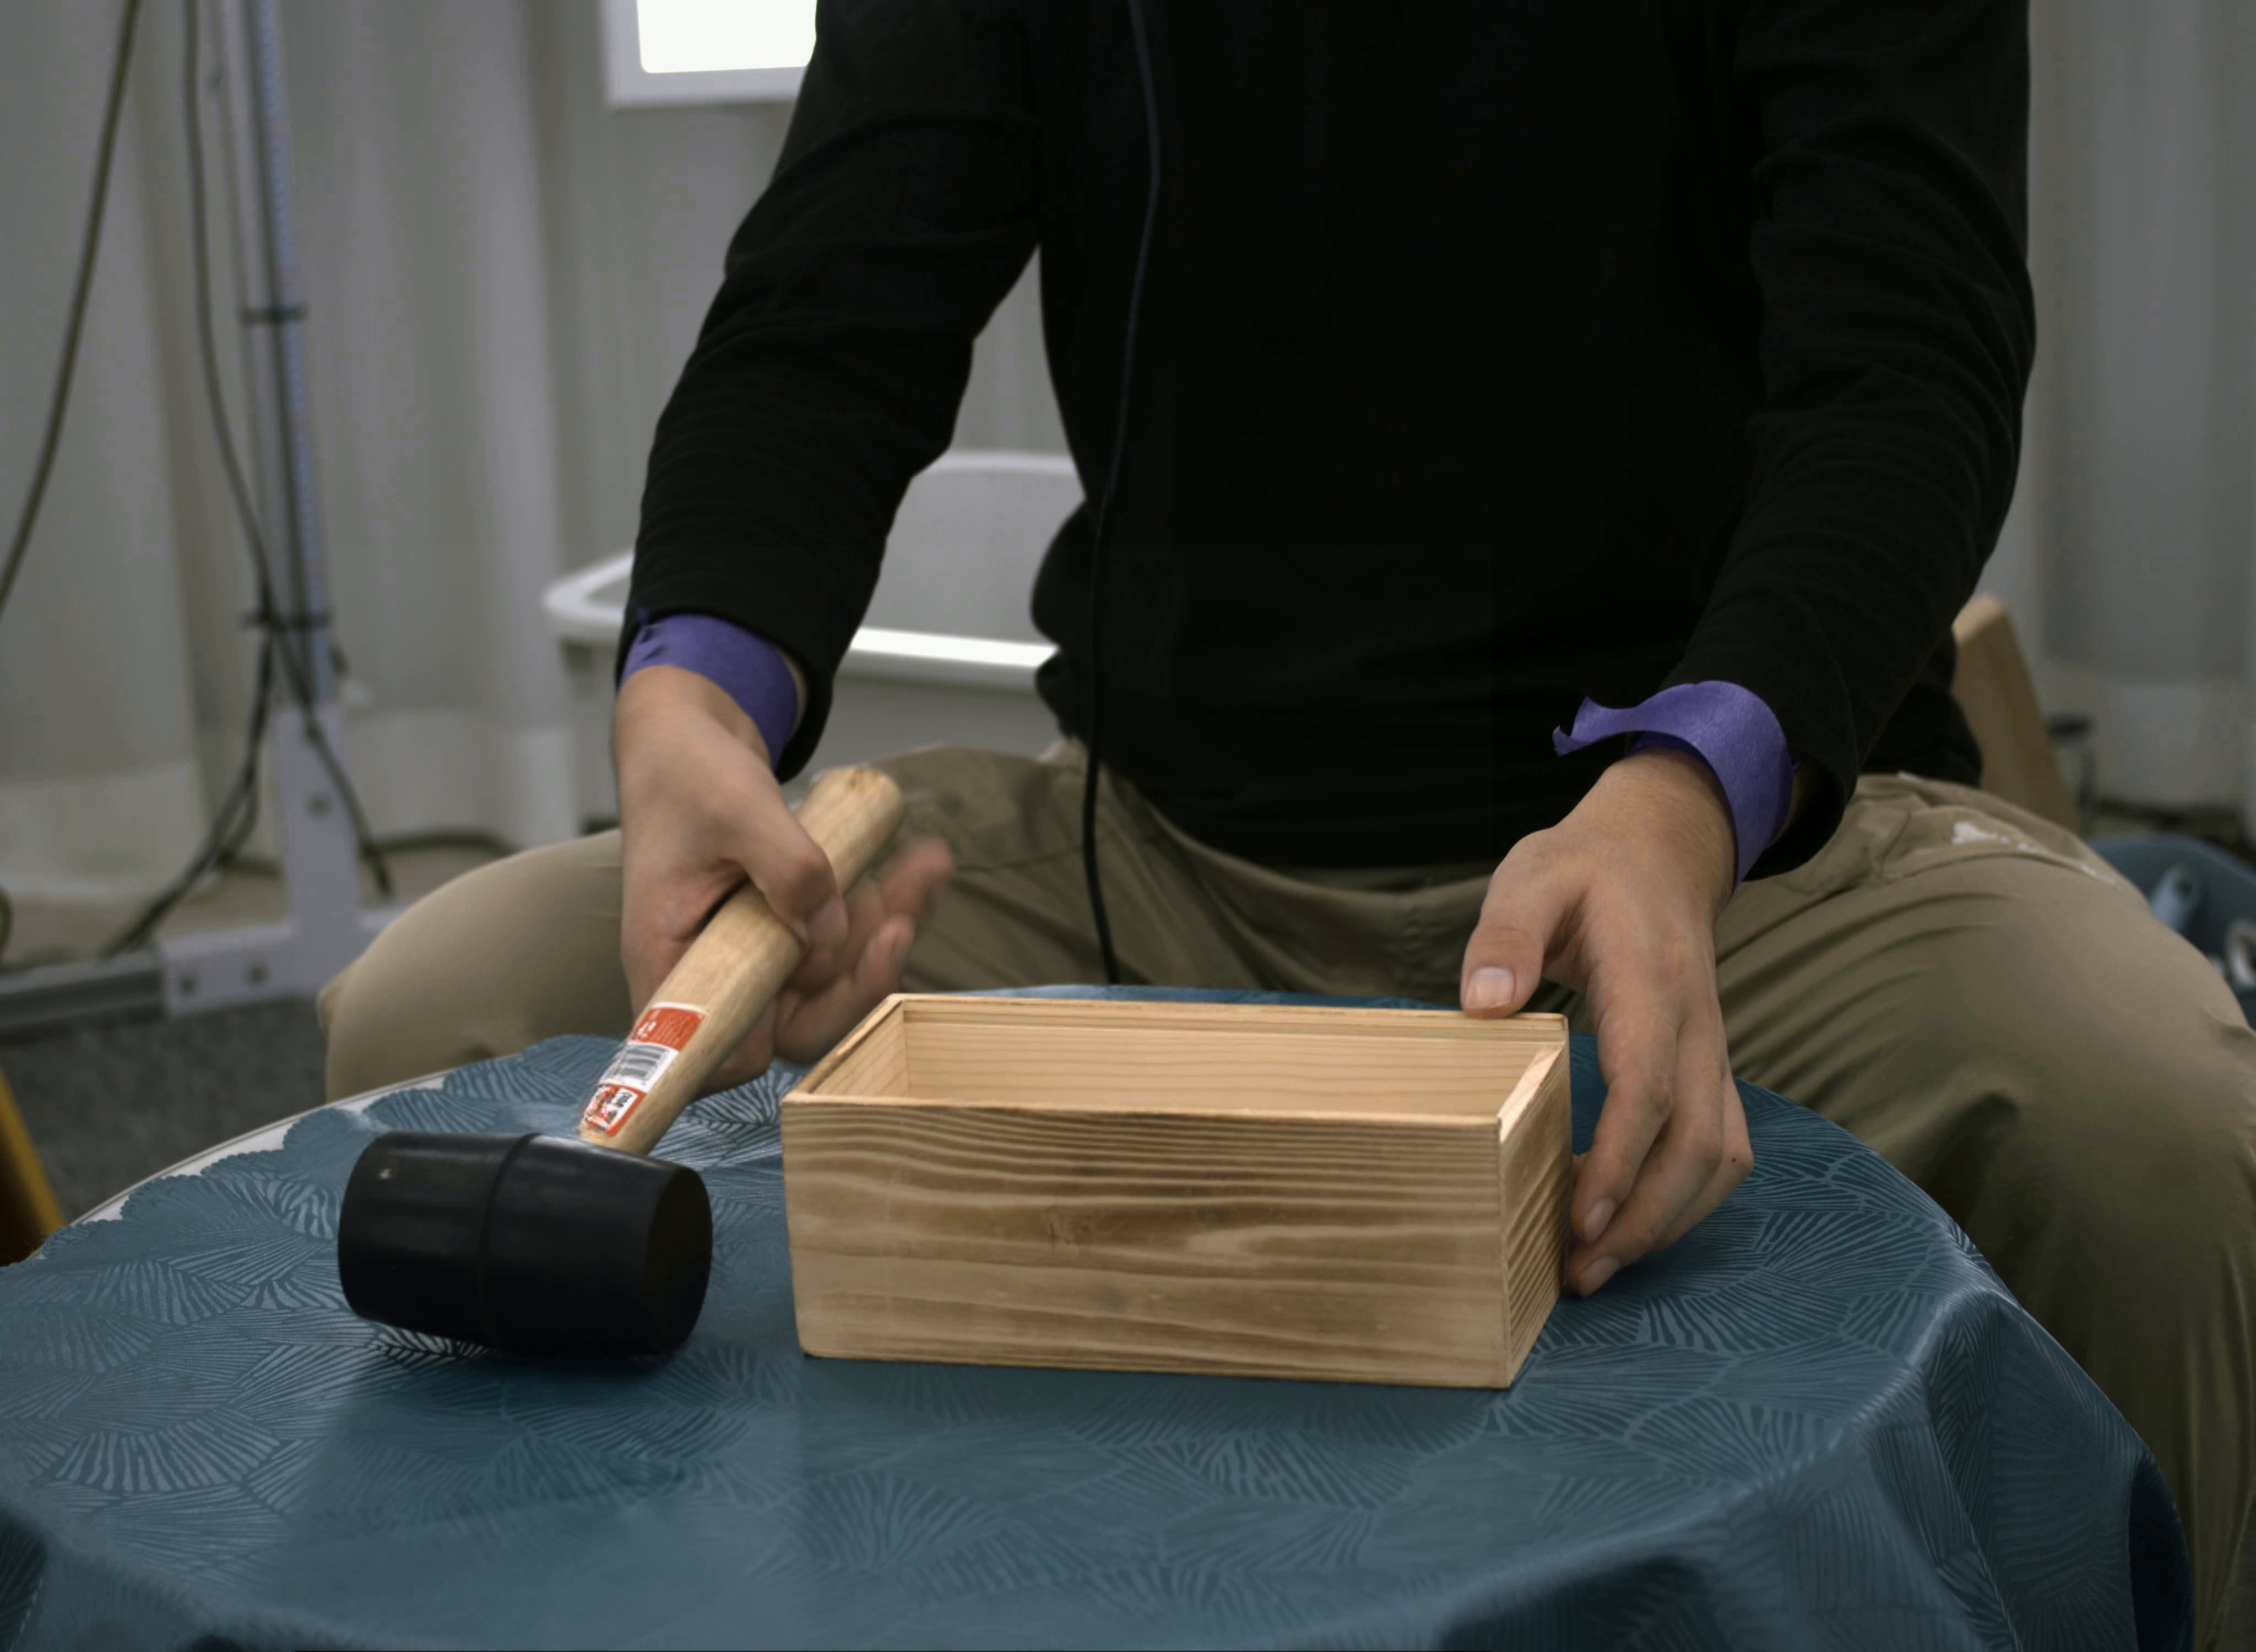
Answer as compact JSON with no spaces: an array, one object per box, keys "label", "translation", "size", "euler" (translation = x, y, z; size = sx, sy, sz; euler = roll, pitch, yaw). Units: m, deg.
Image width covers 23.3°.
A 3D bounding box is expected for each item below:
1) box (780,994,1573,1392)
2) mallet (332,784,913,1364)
[{"label":"box","translation":[0.016,0.105,1.595],"size":[0.211,0.080,0.108],"euler":[1,14,16]},{"label":"mallet","translation":[-0.137,0.059,1.714],"size":[0.102,0.063,0.342],"euler":[8,29,15]}]
